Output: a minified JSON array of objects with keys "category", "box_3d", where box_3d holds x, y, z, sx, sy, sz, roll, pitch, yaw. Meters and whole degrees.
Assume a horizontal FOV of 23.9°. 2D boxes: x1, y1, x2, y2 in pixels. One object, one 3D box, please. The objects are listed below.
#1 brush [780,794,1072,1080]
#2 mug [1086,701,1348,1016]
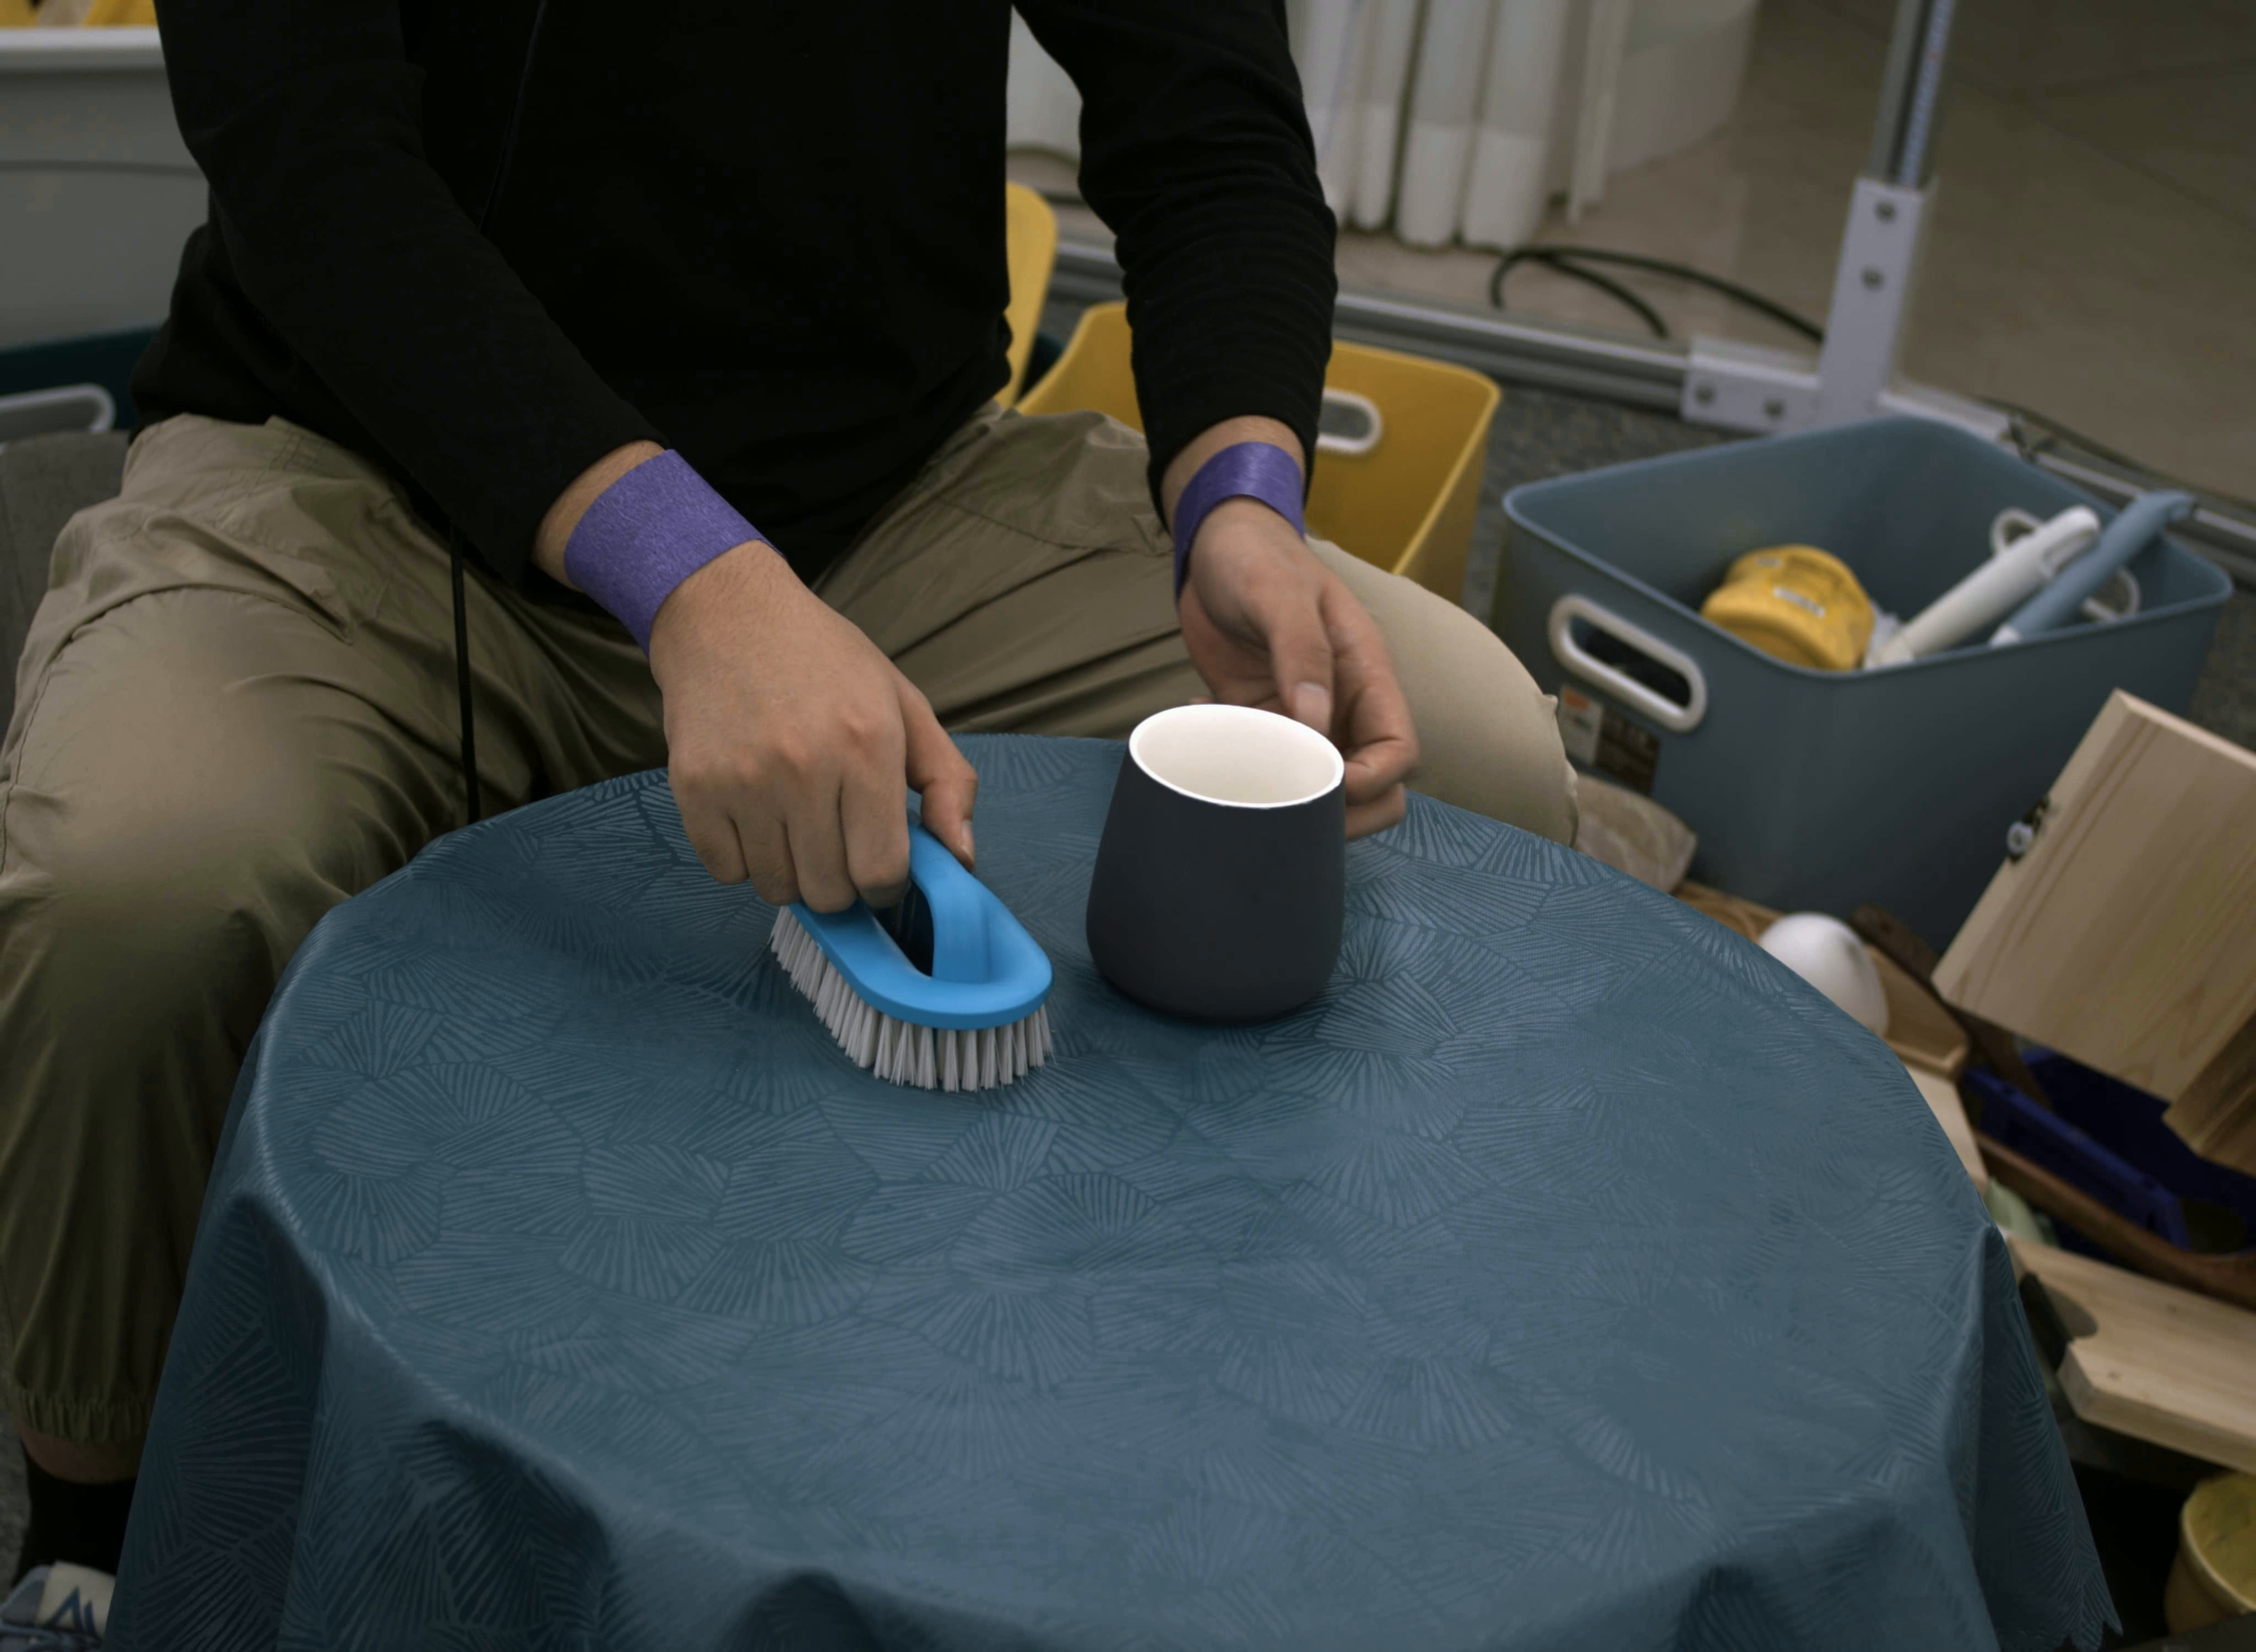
[{"category":"brush","box_3d":[-0.074,0.031,1.894,0.084,0.063,0.143,-10,30,-20]},{"category":"mug","box_3d":[0.030,0.005,1.937,0.093,0.089,0.124,-2,30,-18]}]
